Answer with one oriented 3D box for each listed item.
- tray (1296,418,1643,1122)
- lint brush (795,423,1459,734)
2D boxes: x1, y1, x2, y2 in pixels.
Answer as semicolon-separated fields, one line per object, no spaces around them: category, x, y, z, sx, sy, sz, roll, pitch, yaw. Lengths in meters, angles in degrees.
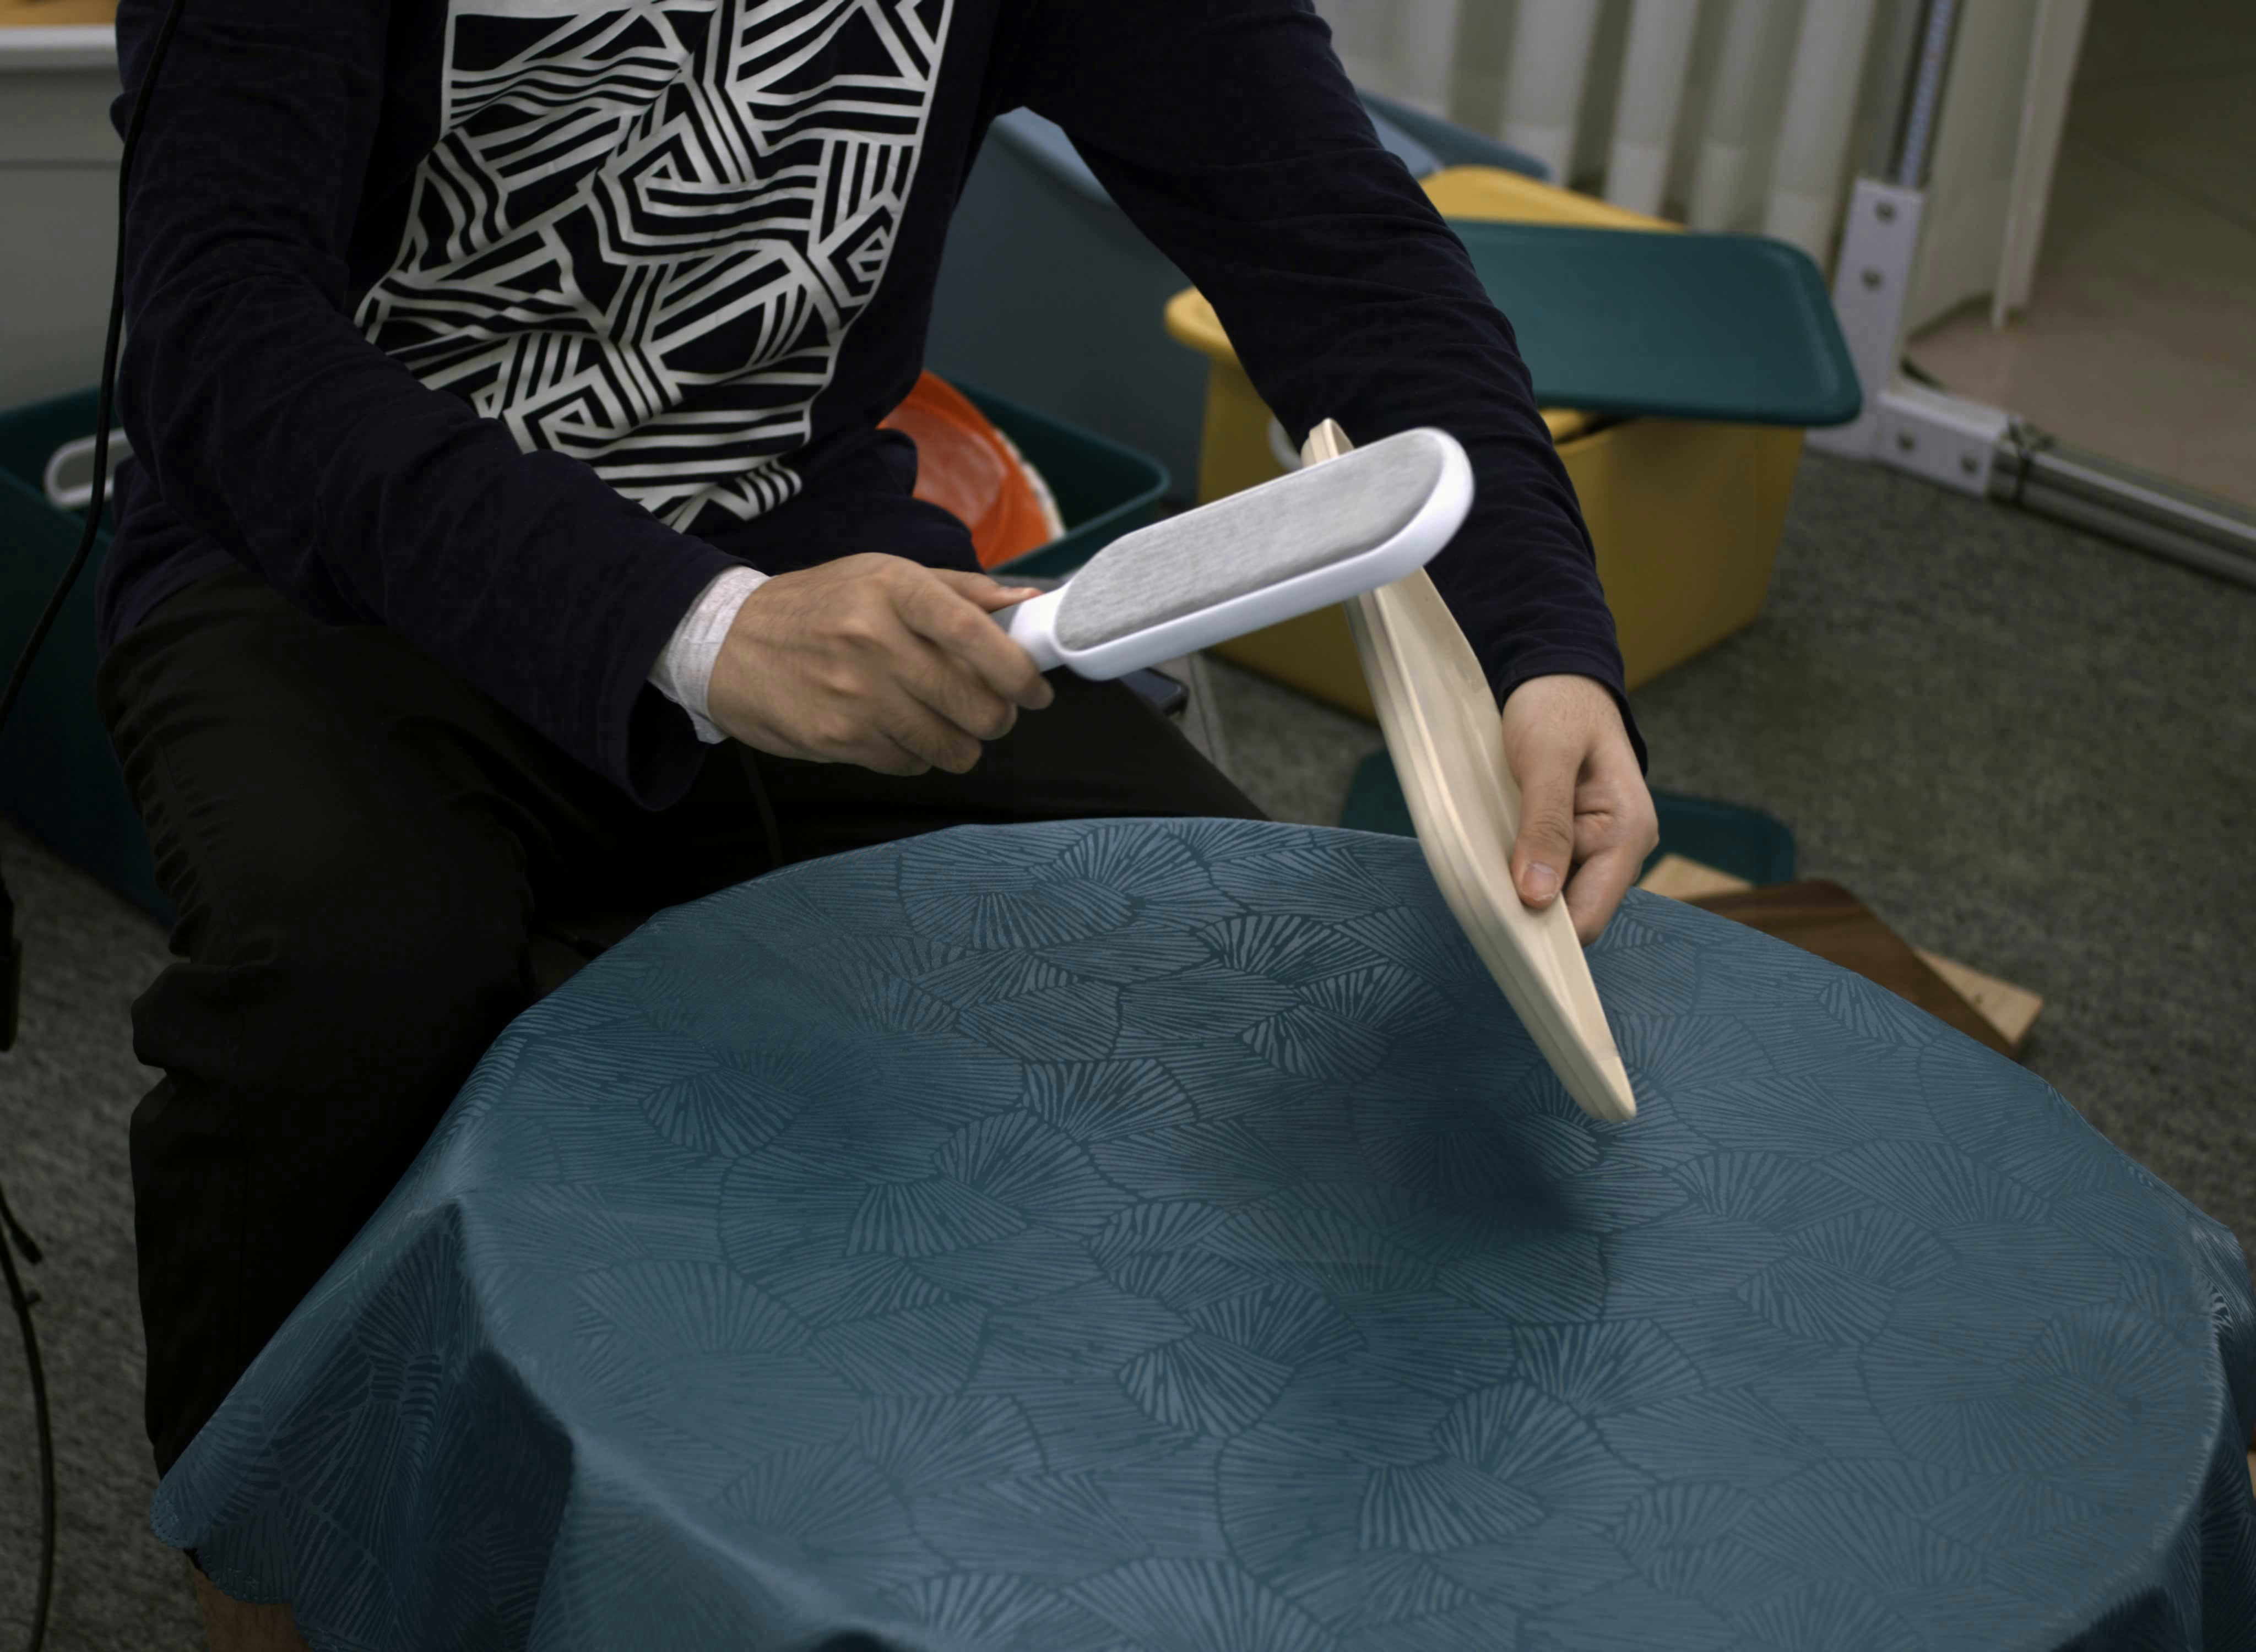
tray;0.114;-0.019;1.829;0.017;0.170;0.242;-26;45;11
lint brush;-0.006;-0.078;1.802;0.310;0.021;0.060;-17;47;43
